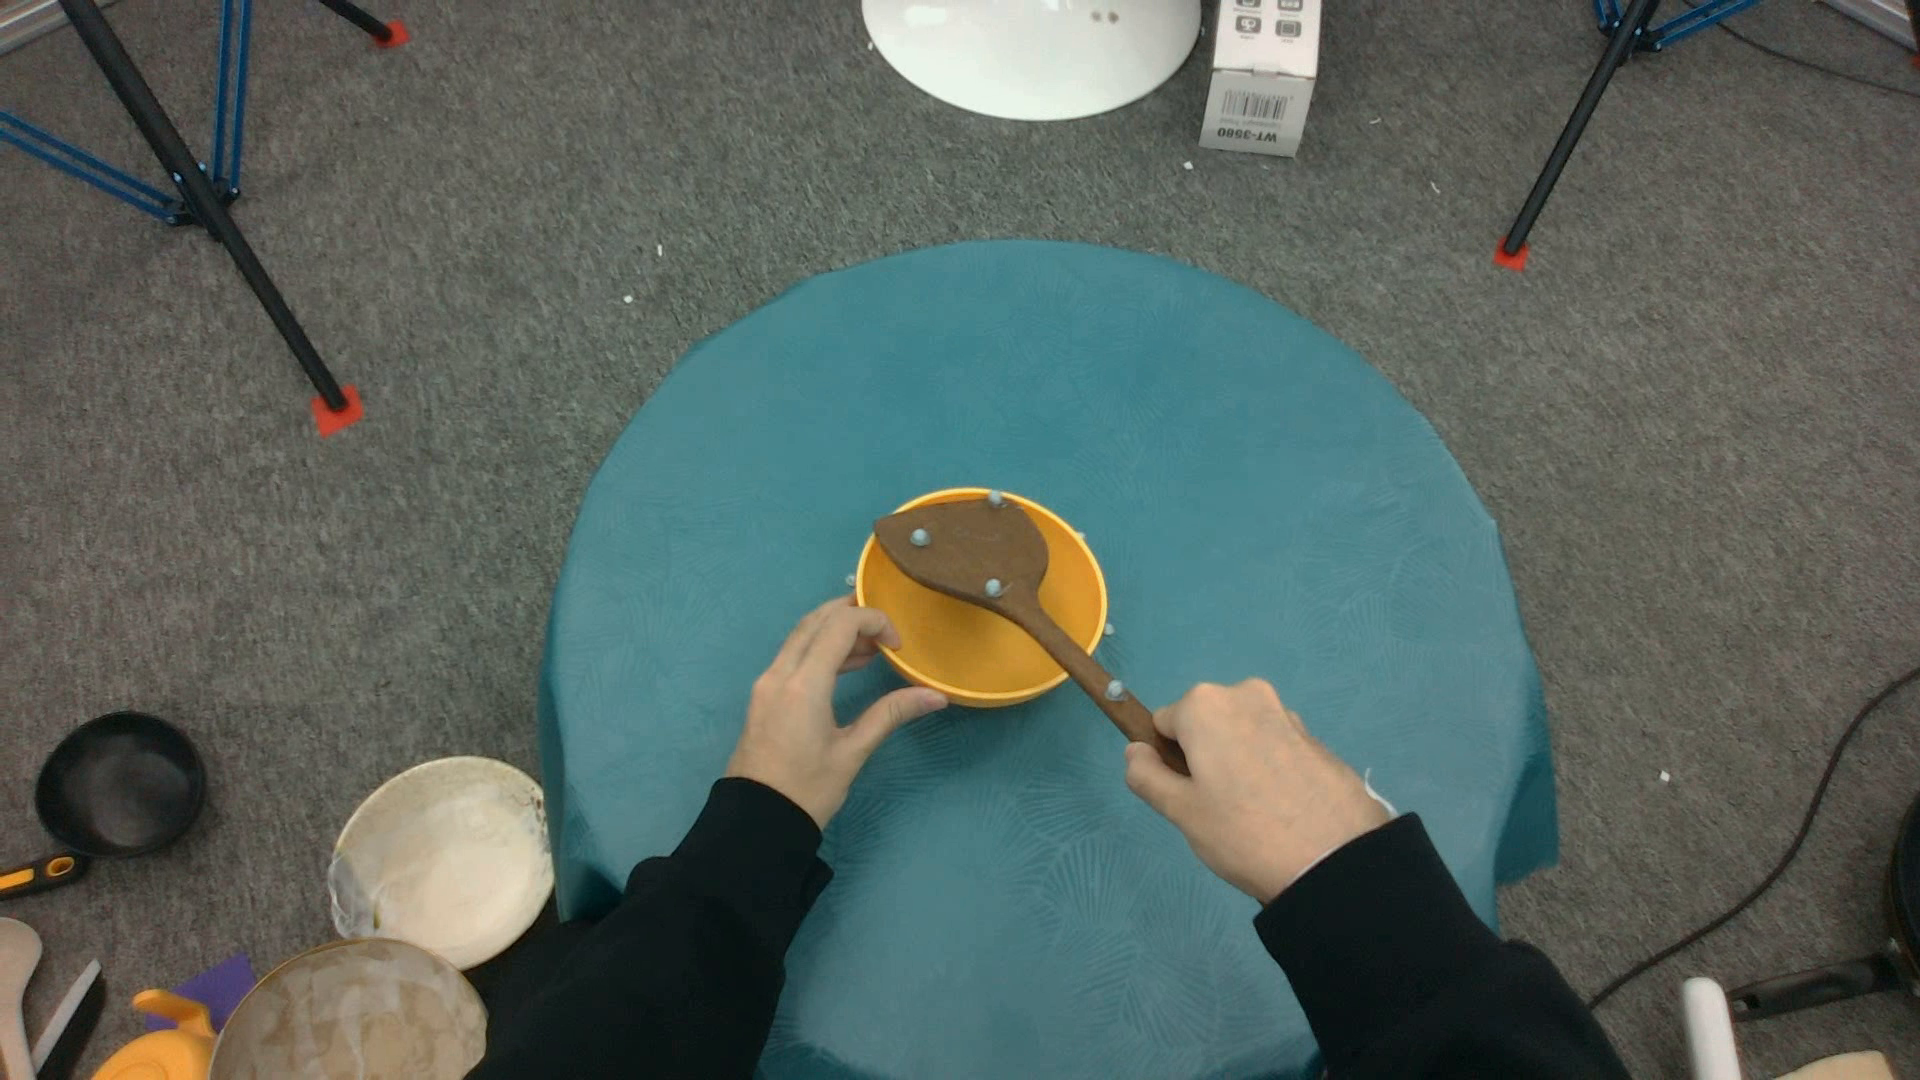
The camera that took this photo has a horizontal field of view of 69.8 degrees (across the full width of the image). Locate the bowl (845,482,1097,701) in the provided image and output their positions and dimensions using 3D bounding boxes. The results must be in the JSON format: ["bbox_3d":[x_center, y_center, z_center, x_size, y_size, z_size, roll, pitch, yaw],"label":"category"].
[{"bbox_3d":[0.004,0.040,0.808,0.145,0.060,0.146,4,54,-5],"label":"bowl"}]

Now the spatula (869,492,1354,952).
[{"bbox_3d":[0.063,0.064,0.668,0.096,0.016,0.386,-10,30,-23],"label":"spatula"}]
